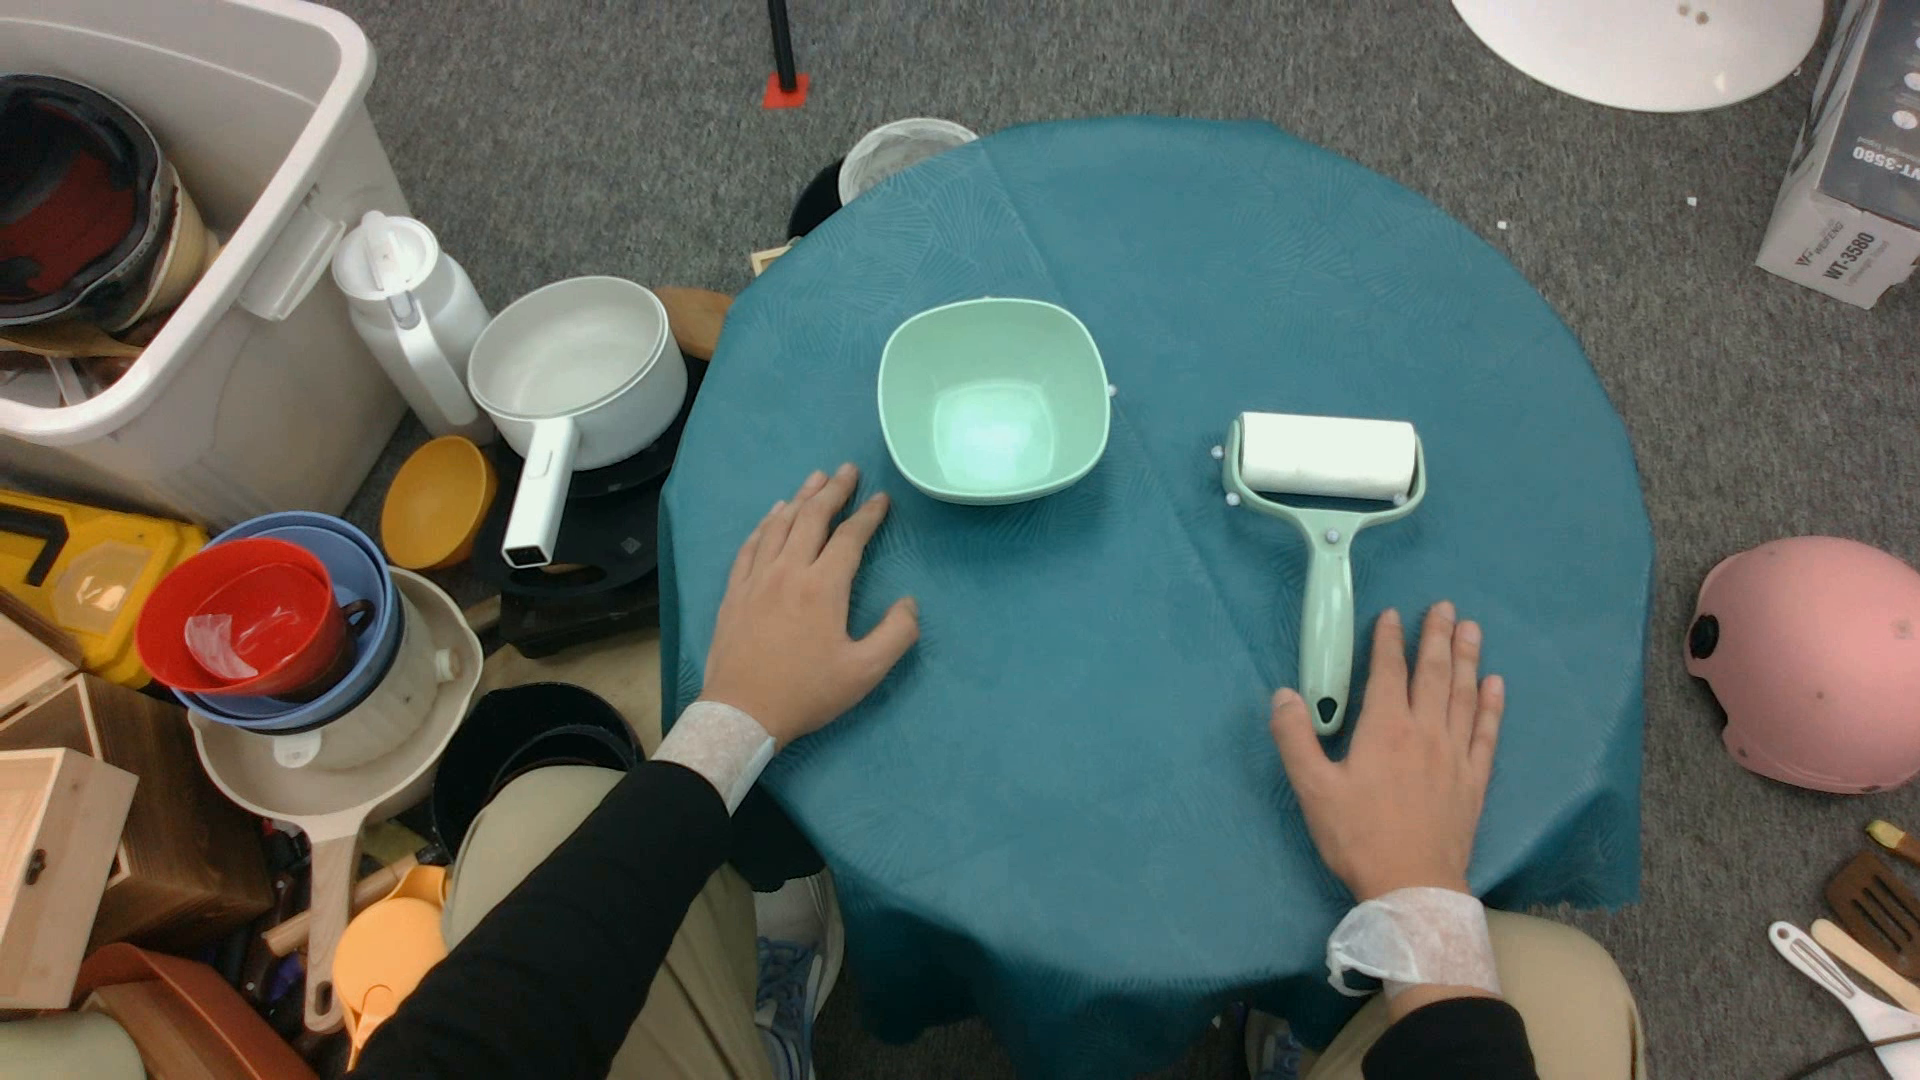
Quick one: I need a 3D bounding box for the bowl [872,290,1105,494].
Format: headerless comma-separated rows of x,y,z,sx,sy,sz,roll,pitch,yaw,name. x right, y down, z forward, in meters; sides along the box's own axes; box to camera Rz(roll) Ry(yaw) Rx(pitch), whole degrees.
0.017,-0.081,0.845,0.151,0.058,0.152,0,63,0,bowl

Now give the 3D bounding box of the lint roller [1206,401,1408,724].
0.204,0.008,0.807,0.116,0.048,0.198,4,65,1,lint roller
